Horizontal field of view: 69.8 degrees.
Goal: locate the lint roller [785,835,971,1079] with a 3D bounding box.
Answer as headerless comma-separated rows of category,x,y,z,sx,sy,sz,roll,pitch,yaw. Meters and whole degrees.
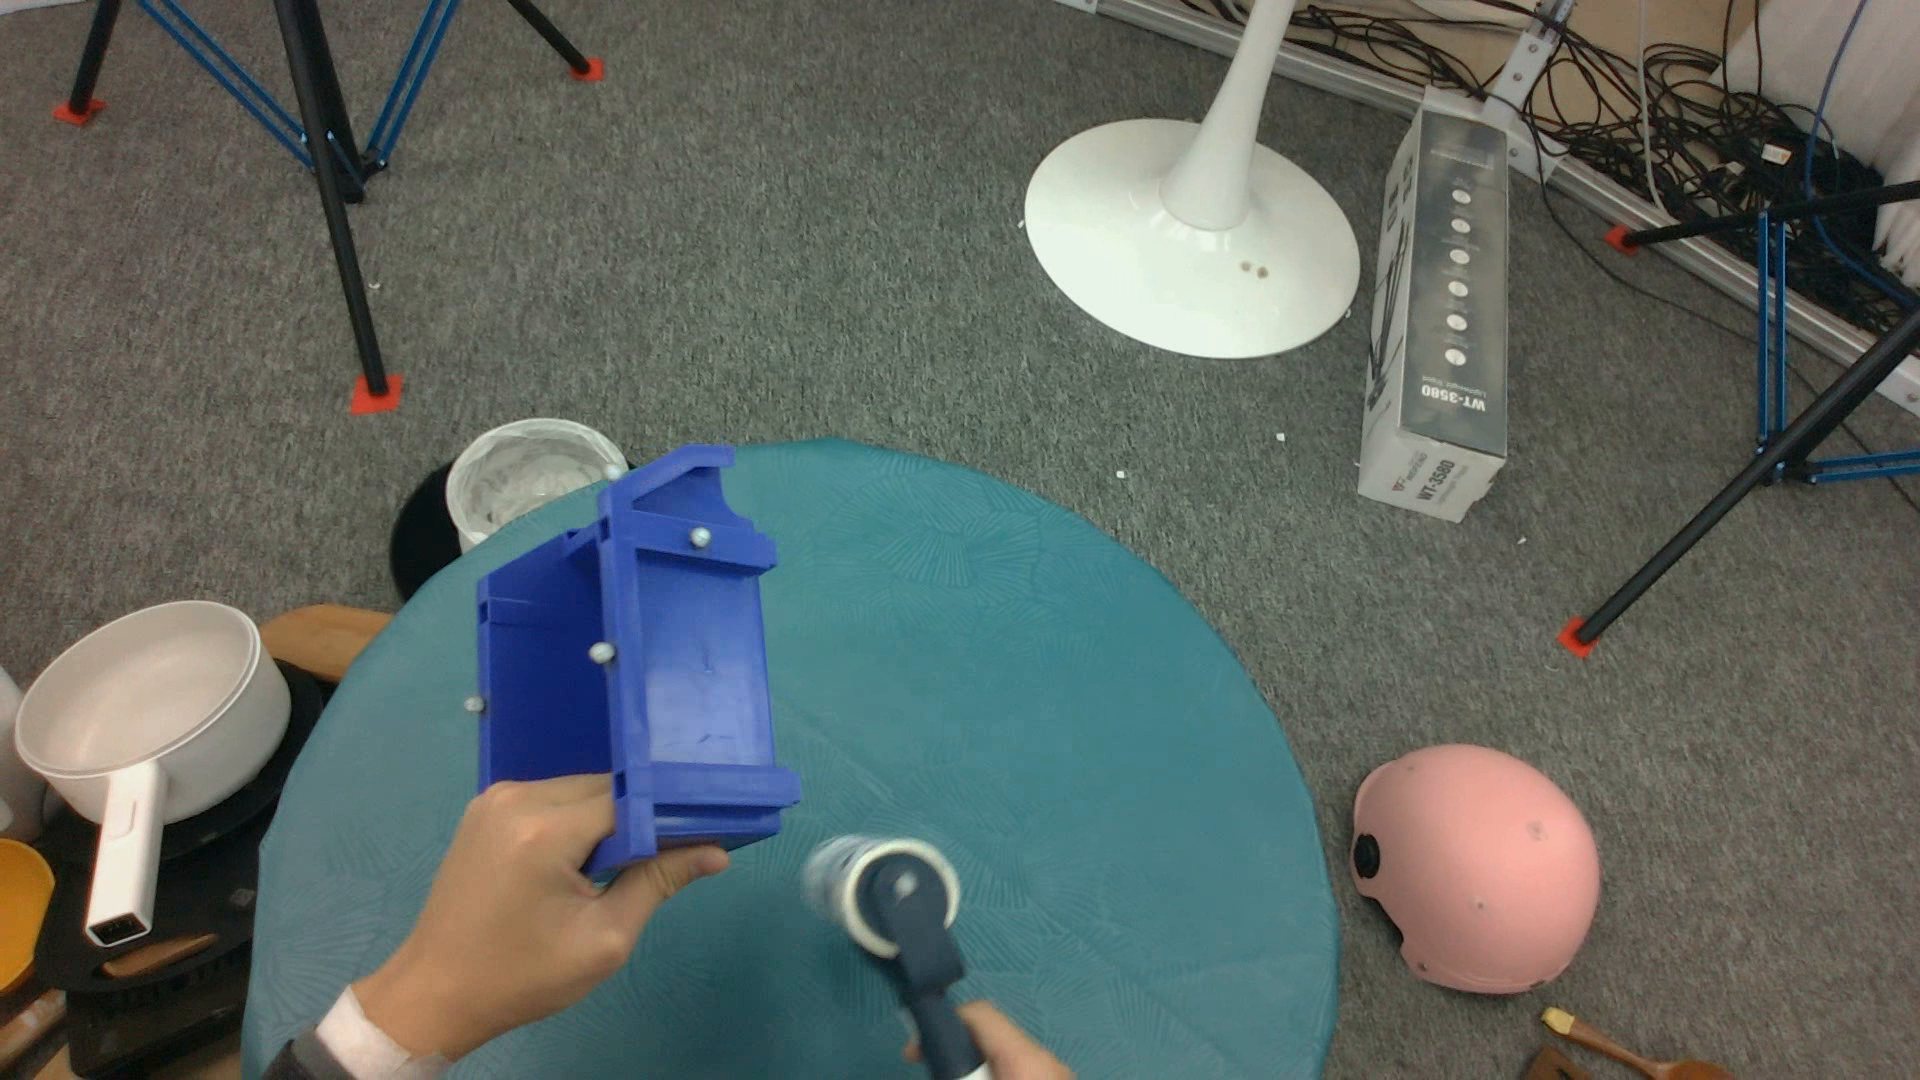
lint roller,-0.004,0.251,0.635,0.050,0.176,0.247,-25,87,-18

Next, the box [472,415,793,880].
box,-0.148,0.046,0.602,0.082,0.124,0.180,9,64,-43
